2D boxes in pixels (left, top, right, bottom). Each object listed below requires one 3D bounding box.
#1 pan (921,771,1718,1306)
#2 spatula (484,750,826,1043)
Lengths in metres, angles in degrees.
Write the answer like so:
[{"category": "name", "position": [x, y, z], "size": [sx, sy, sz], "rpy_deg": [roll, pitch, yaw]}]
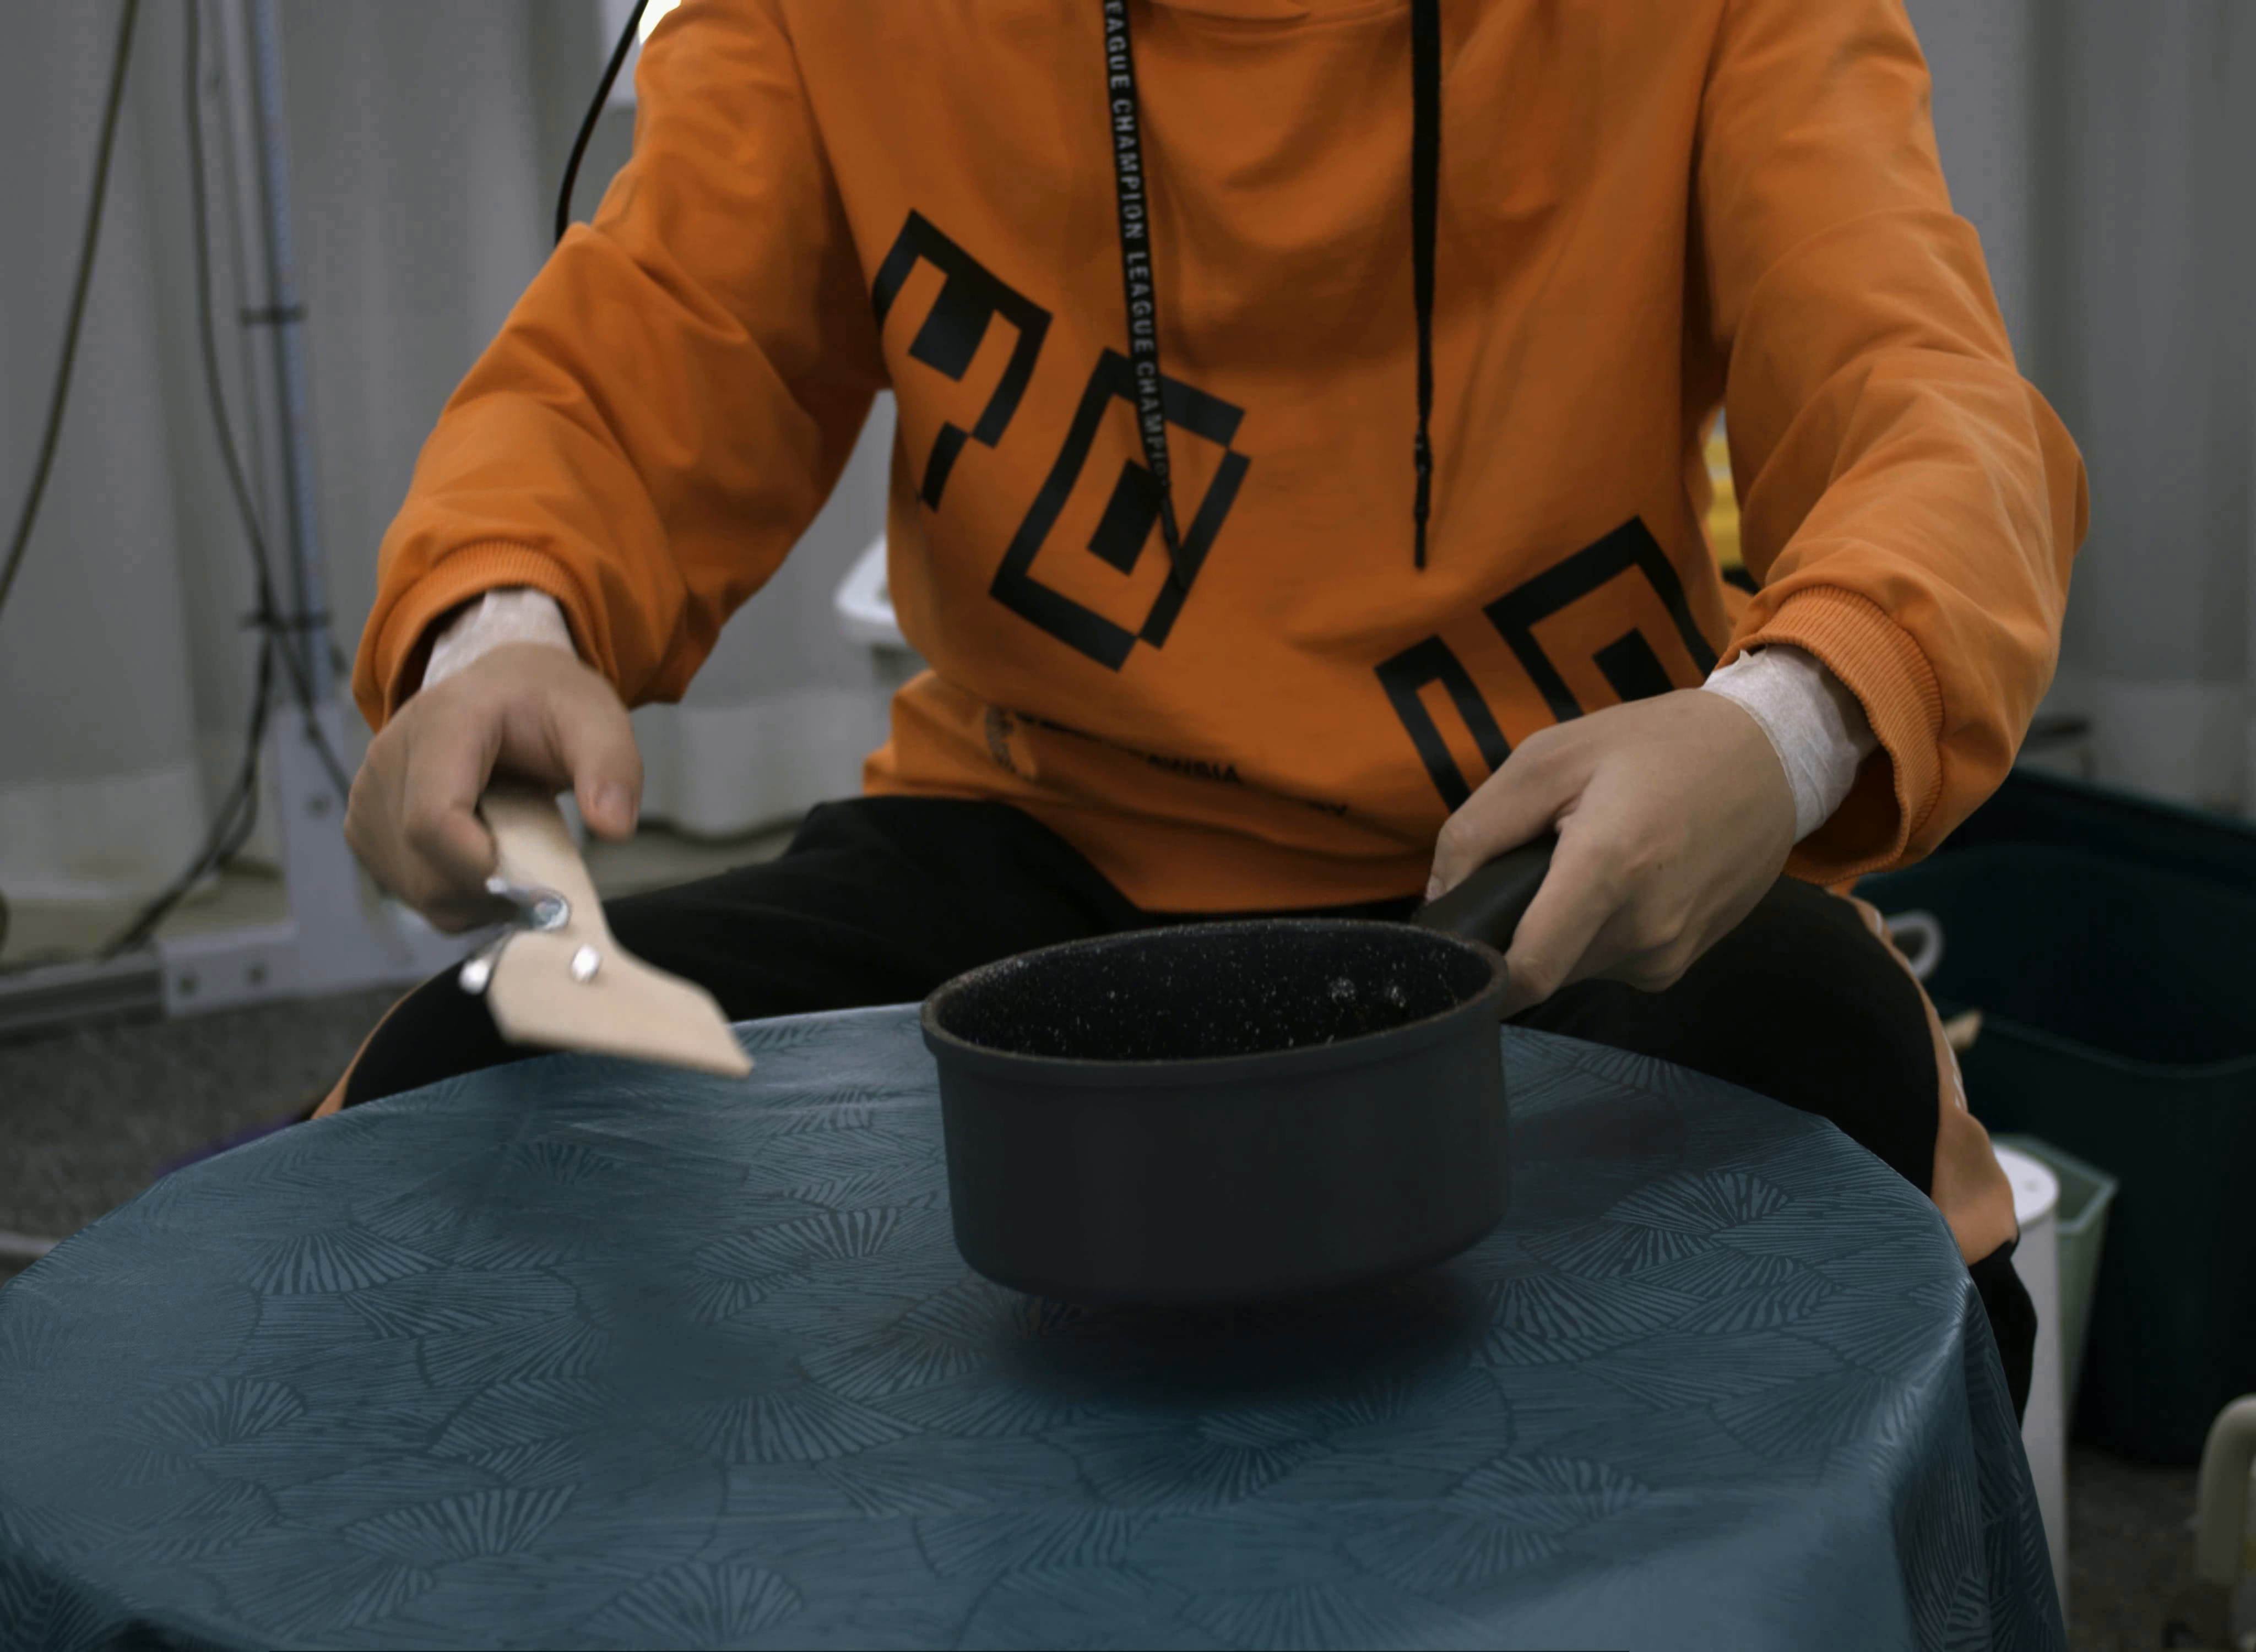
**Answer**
[{"category": "pan", "position": [0.077, 0.061, 1.644], "size": [0.172, 0.086, 0.328], "rpy_deg": [5, 17, 39]}, {"category": "spatula", "position": [-0.159, 0.015, 1.666], "size": [0.071, 0.010, 0.295], "rpy_deg": [21, 7, -21]}]
